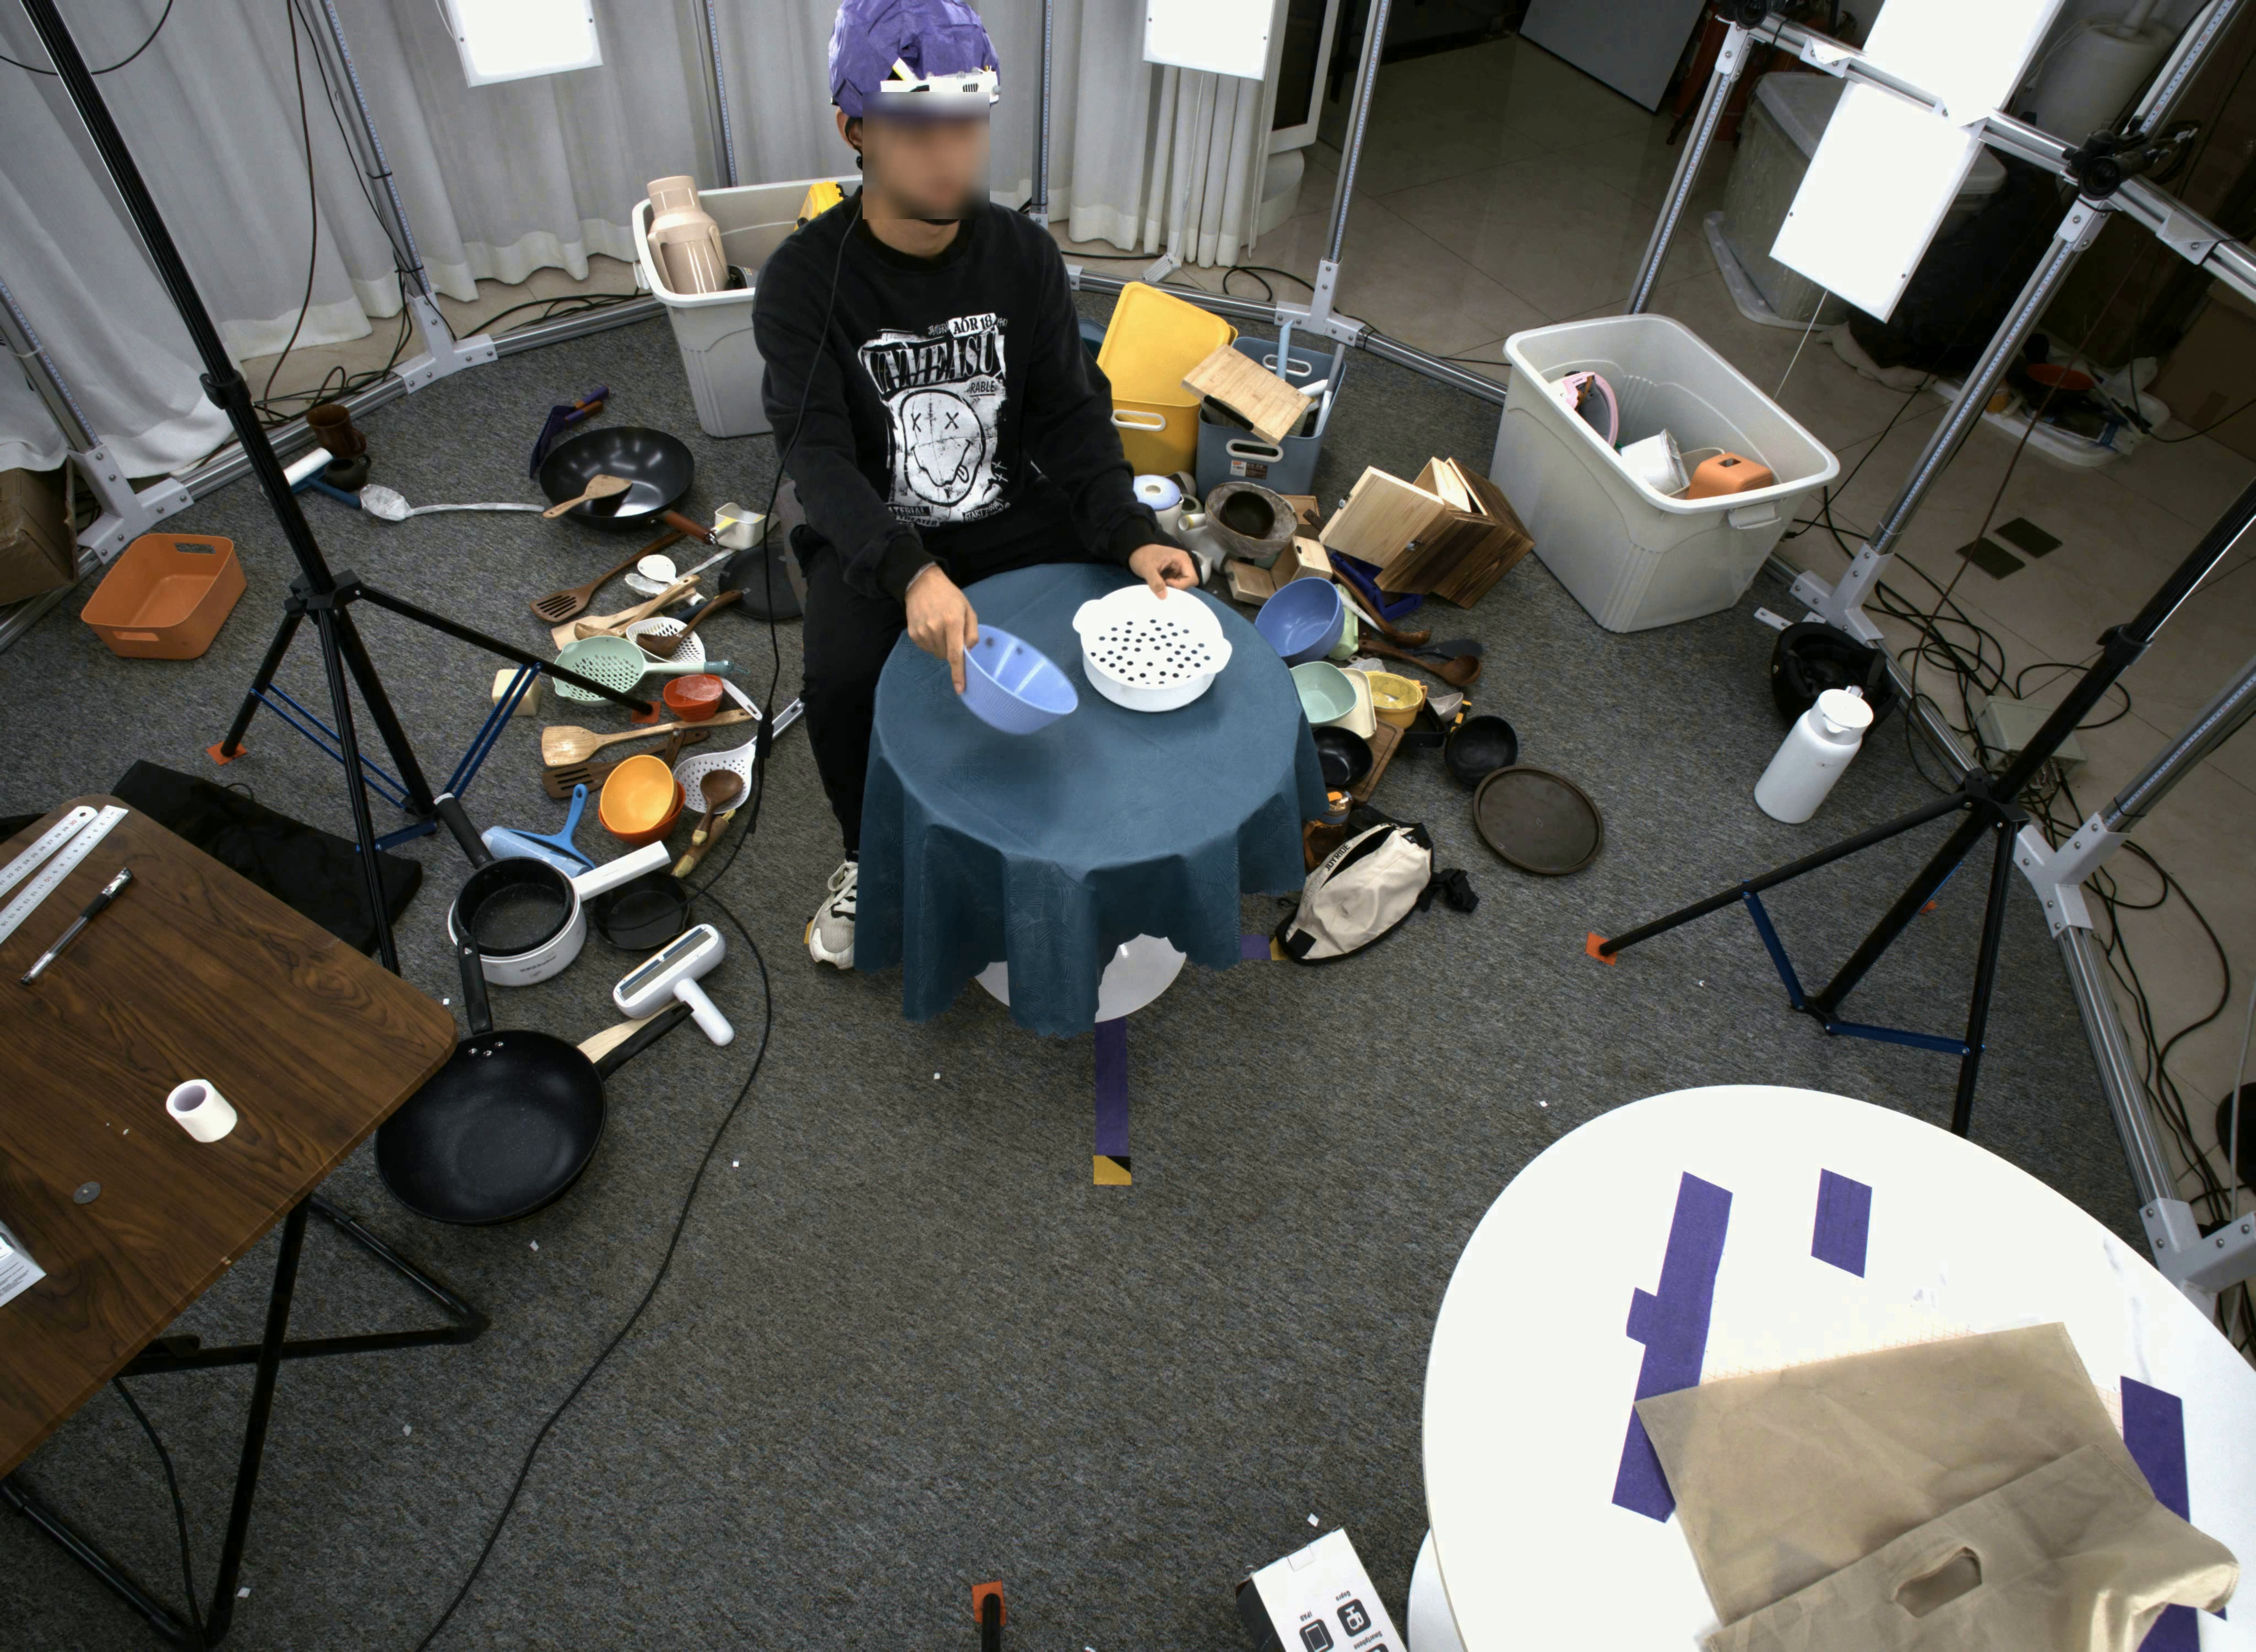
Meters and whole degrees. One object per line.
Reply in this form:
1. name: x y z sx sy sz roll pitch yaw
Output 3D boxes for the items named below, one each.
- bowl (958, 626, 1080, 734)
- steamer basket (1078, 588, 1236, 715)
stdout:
1. bowl: -0.153 -0.181 1.669 0.174 0.069 0.180 29 26 -15
2. steamer basket: 0.039 -0.252 1.857 0.231 0.067 0.206 19 55 10
